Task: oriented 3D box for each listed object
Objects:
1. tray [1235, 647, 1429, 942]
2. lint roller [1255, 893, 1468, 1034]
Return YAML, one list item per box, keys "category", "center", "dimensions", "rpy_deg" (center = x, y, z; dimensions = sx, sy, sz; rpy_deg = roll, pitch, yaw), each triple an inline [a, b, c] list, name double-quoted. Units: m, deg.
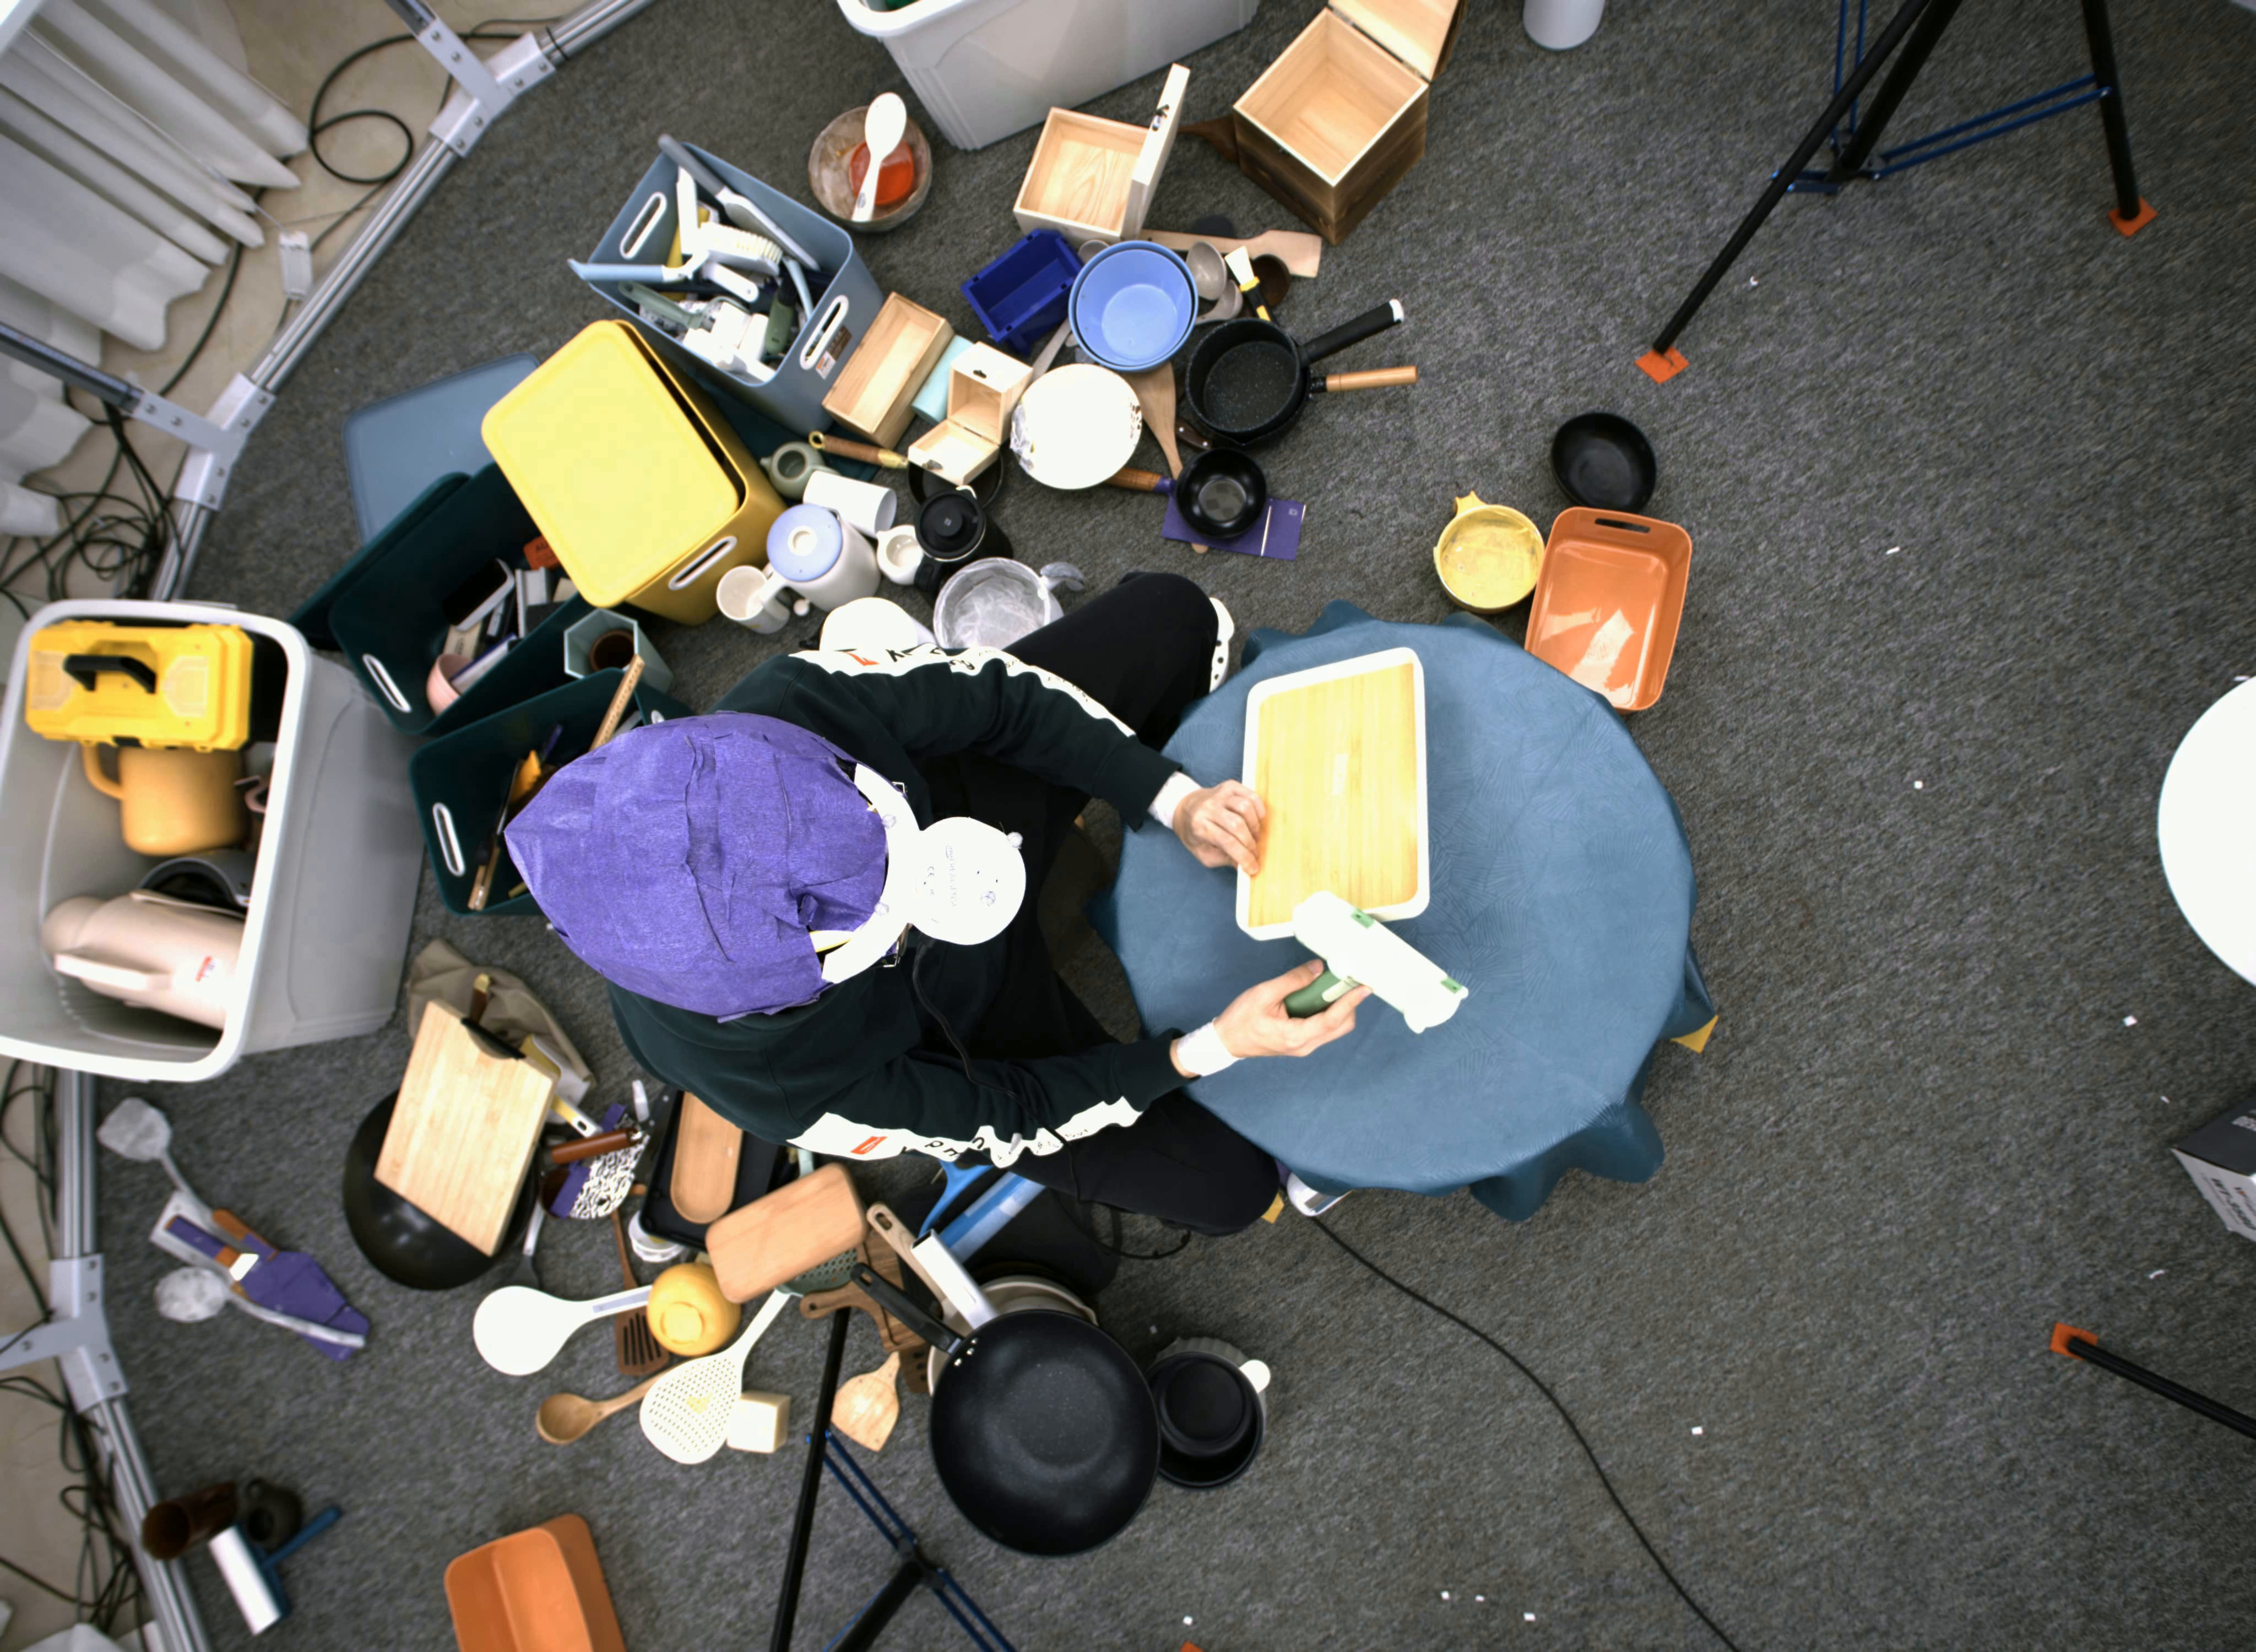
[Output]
- category: "tray"
  center: [0.203, -0.035, 1.375]
  dimensions: [0.194, 0.028, 0.293]
  rpy_deg: [-11, 58, 29]
- category: "lint roller"
  center: [0.196, 0.162, 1.312]
  dimensions: [0.186, 0.200, 0.080]
  rpy_deg: [-38, 36, 27]
